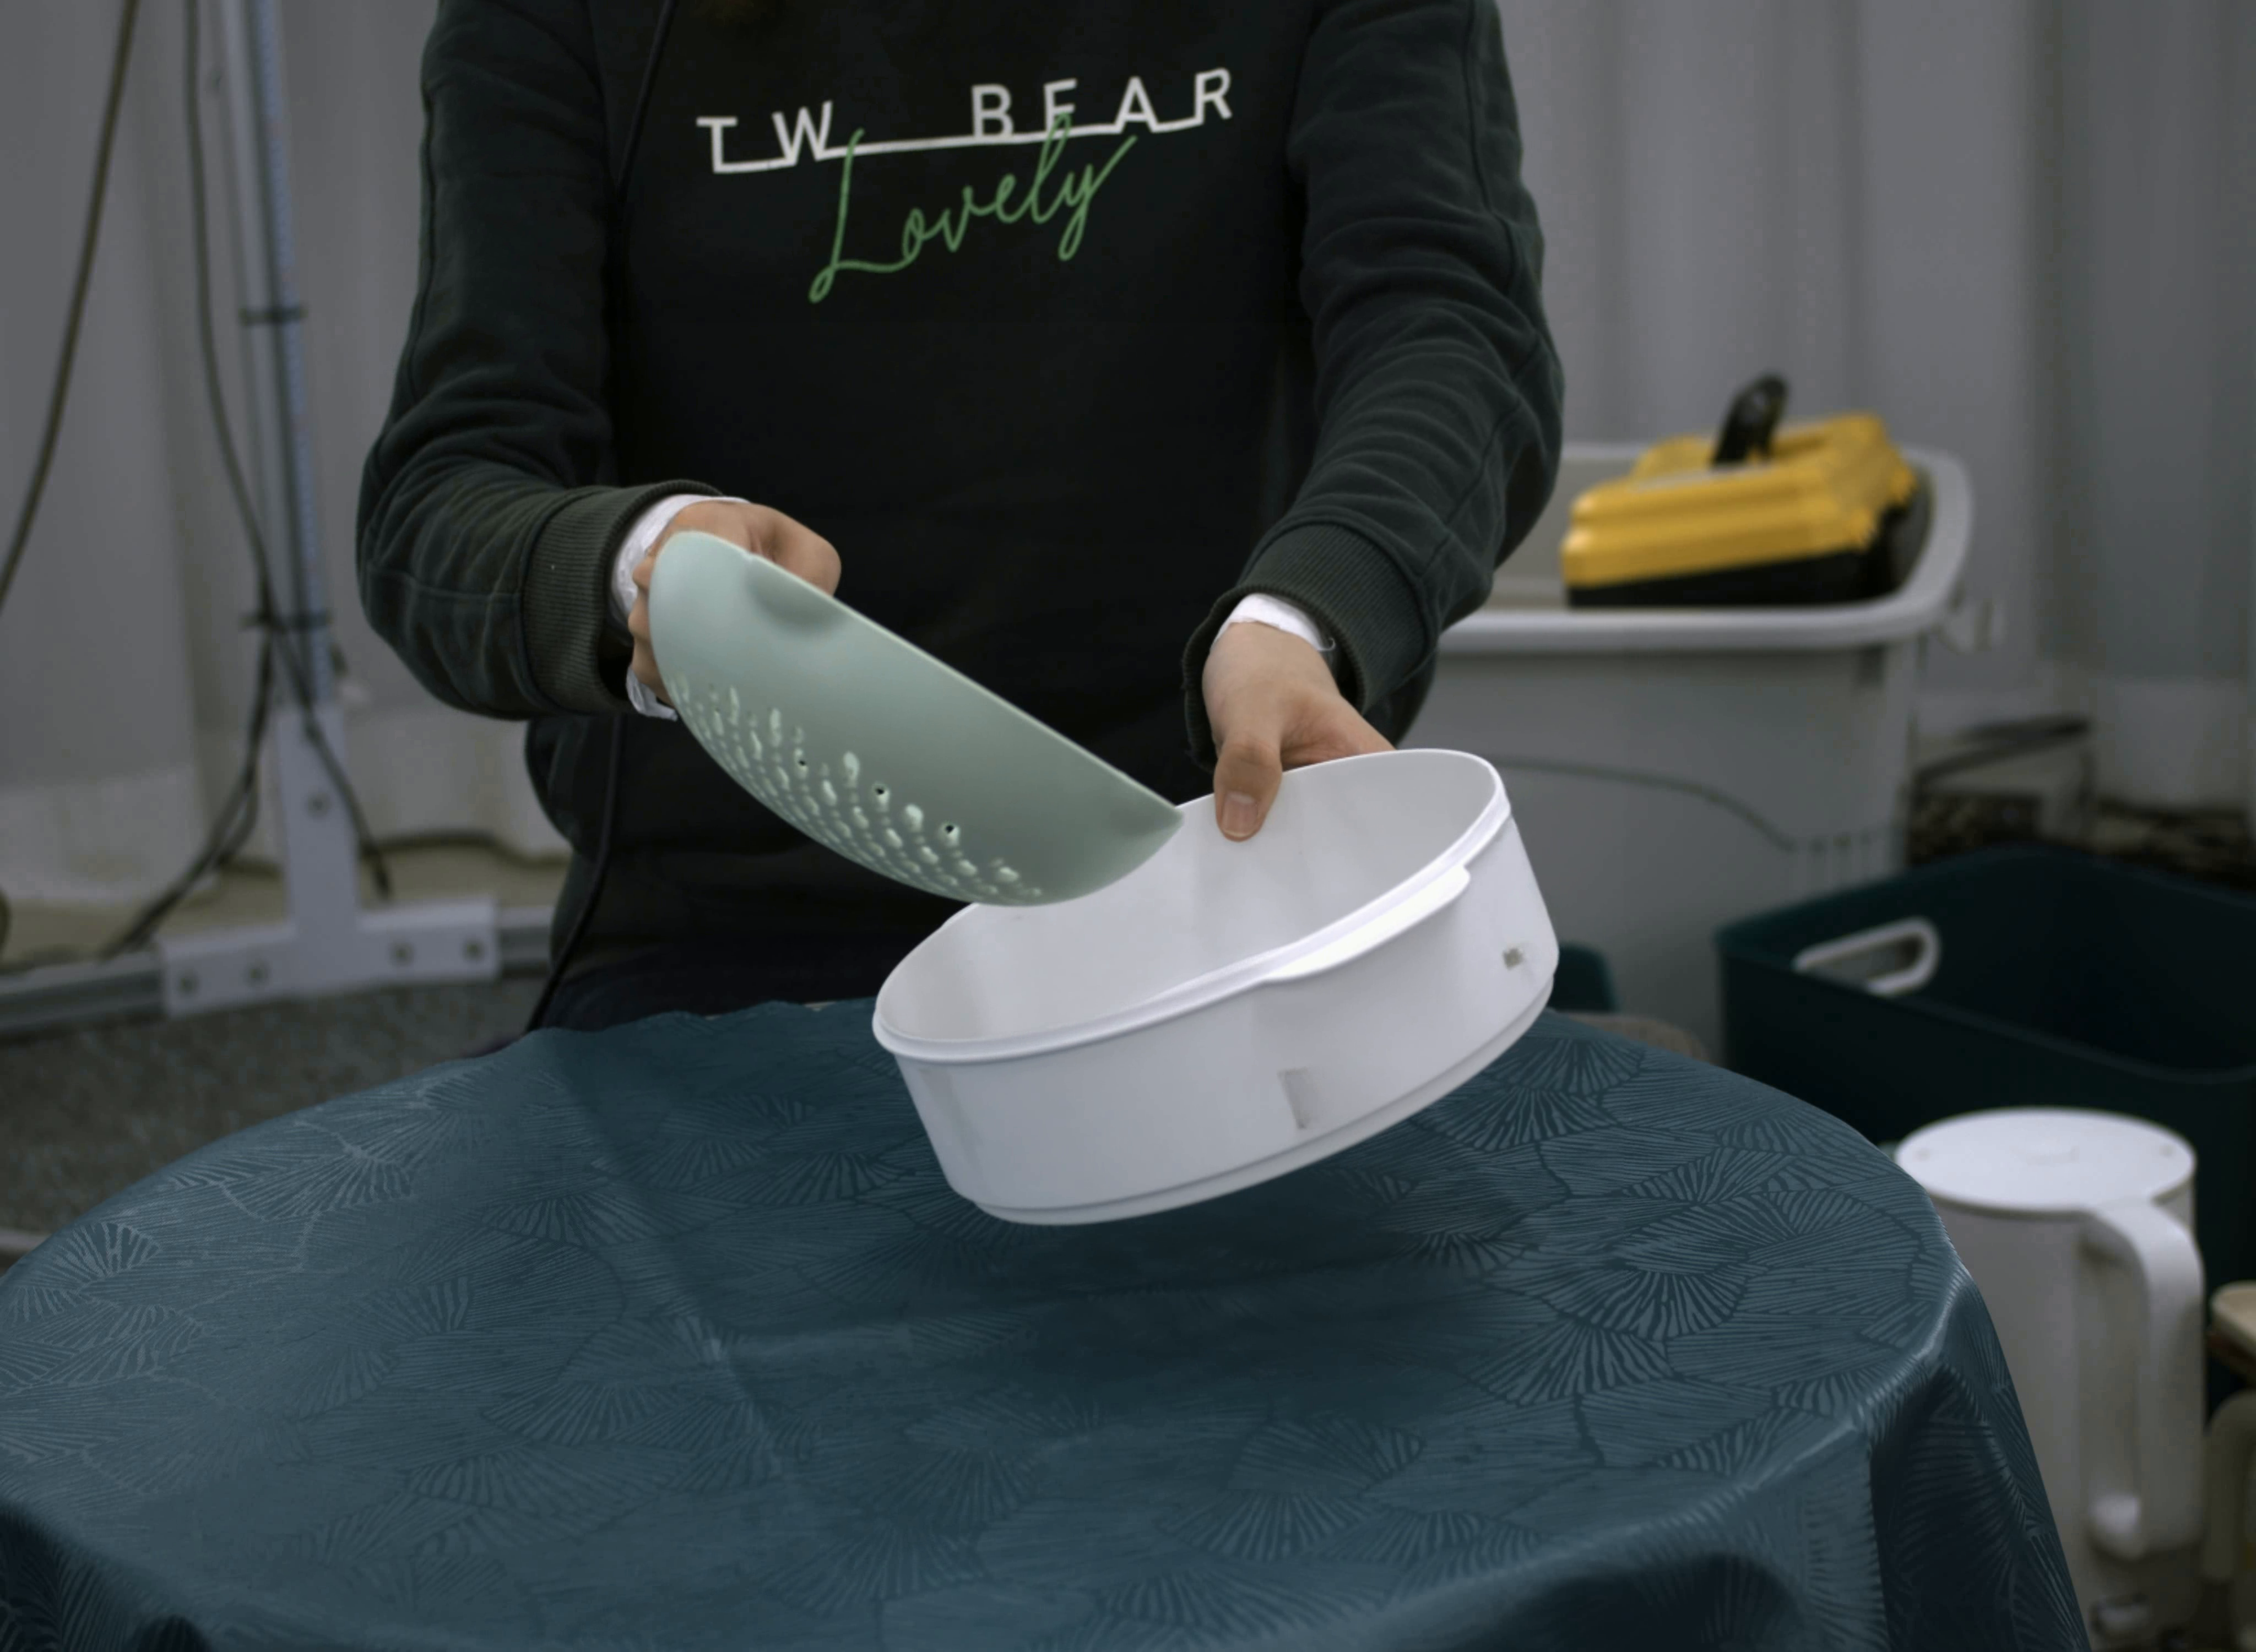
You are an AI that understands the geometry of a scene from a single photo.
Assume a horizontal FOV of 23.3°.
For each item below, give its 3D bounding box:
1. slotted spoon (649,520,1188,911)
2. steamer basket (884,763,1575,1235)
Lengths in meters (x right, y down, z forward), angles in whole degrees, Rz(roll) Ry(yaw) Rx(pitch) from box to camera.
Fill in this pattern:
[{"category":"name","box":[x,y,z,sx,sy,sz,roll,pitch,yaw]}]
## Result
[{"category":"slotted spoon","box":[-0.087,-0.042,1.635,0.168,0.075,0.361,32,5,-15]},{"category":"steamer basket","box":[0.032,0.051,1.598,0.202,0.069,0.231,-27,15,-27]}]
